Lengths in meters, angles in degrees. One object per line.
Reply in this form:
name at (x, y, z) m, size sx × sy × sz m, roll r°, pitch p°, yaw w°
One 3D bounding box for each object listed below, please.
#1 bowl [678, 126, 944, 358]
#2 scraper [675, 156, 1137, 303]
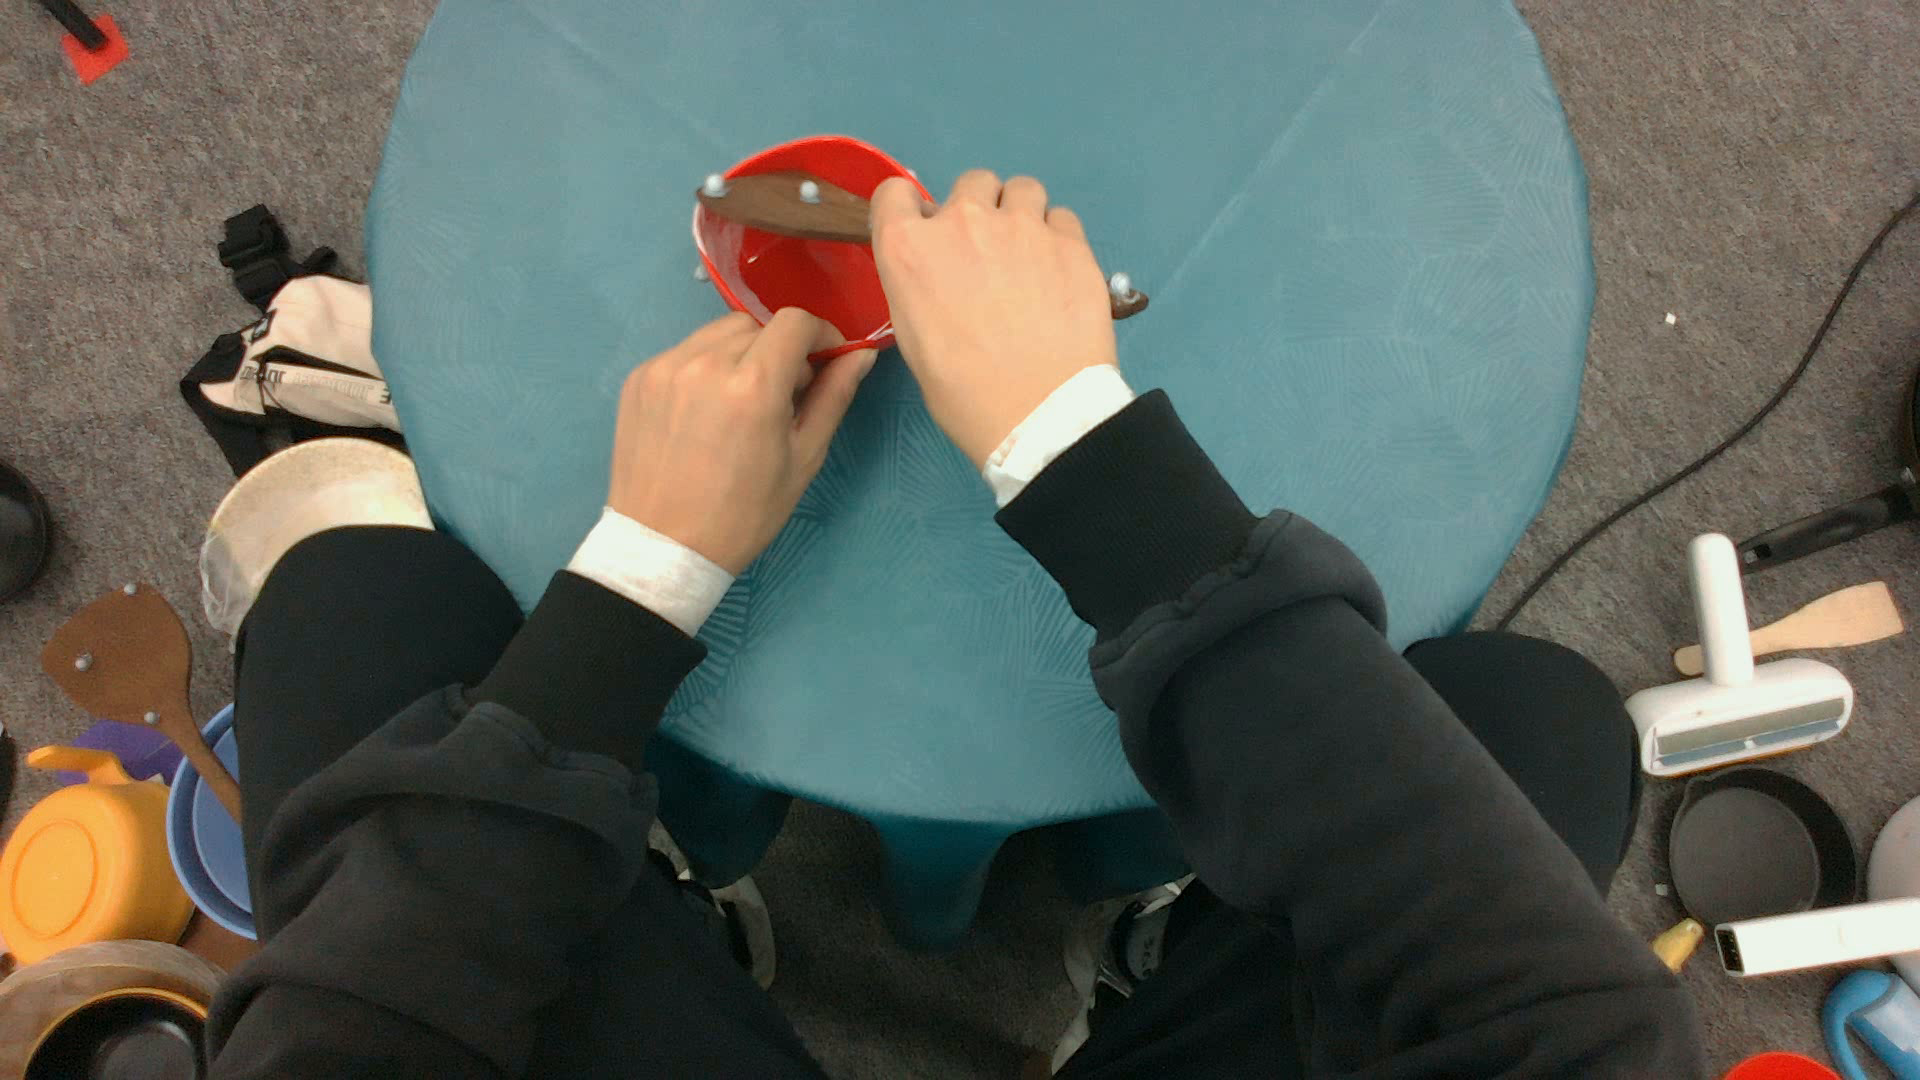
bowl at (-0.070, -0.128, 0.634) m, size 0.119 × 0.051 × 0.119 m, roll 5°, pitch 63°, yaw -10°
scraper at (-0.022, -0.128, 0.569) m, size 0.211 × 0.011 × 0.076 m, roll 23°, pitch 34°, yaw 29°
